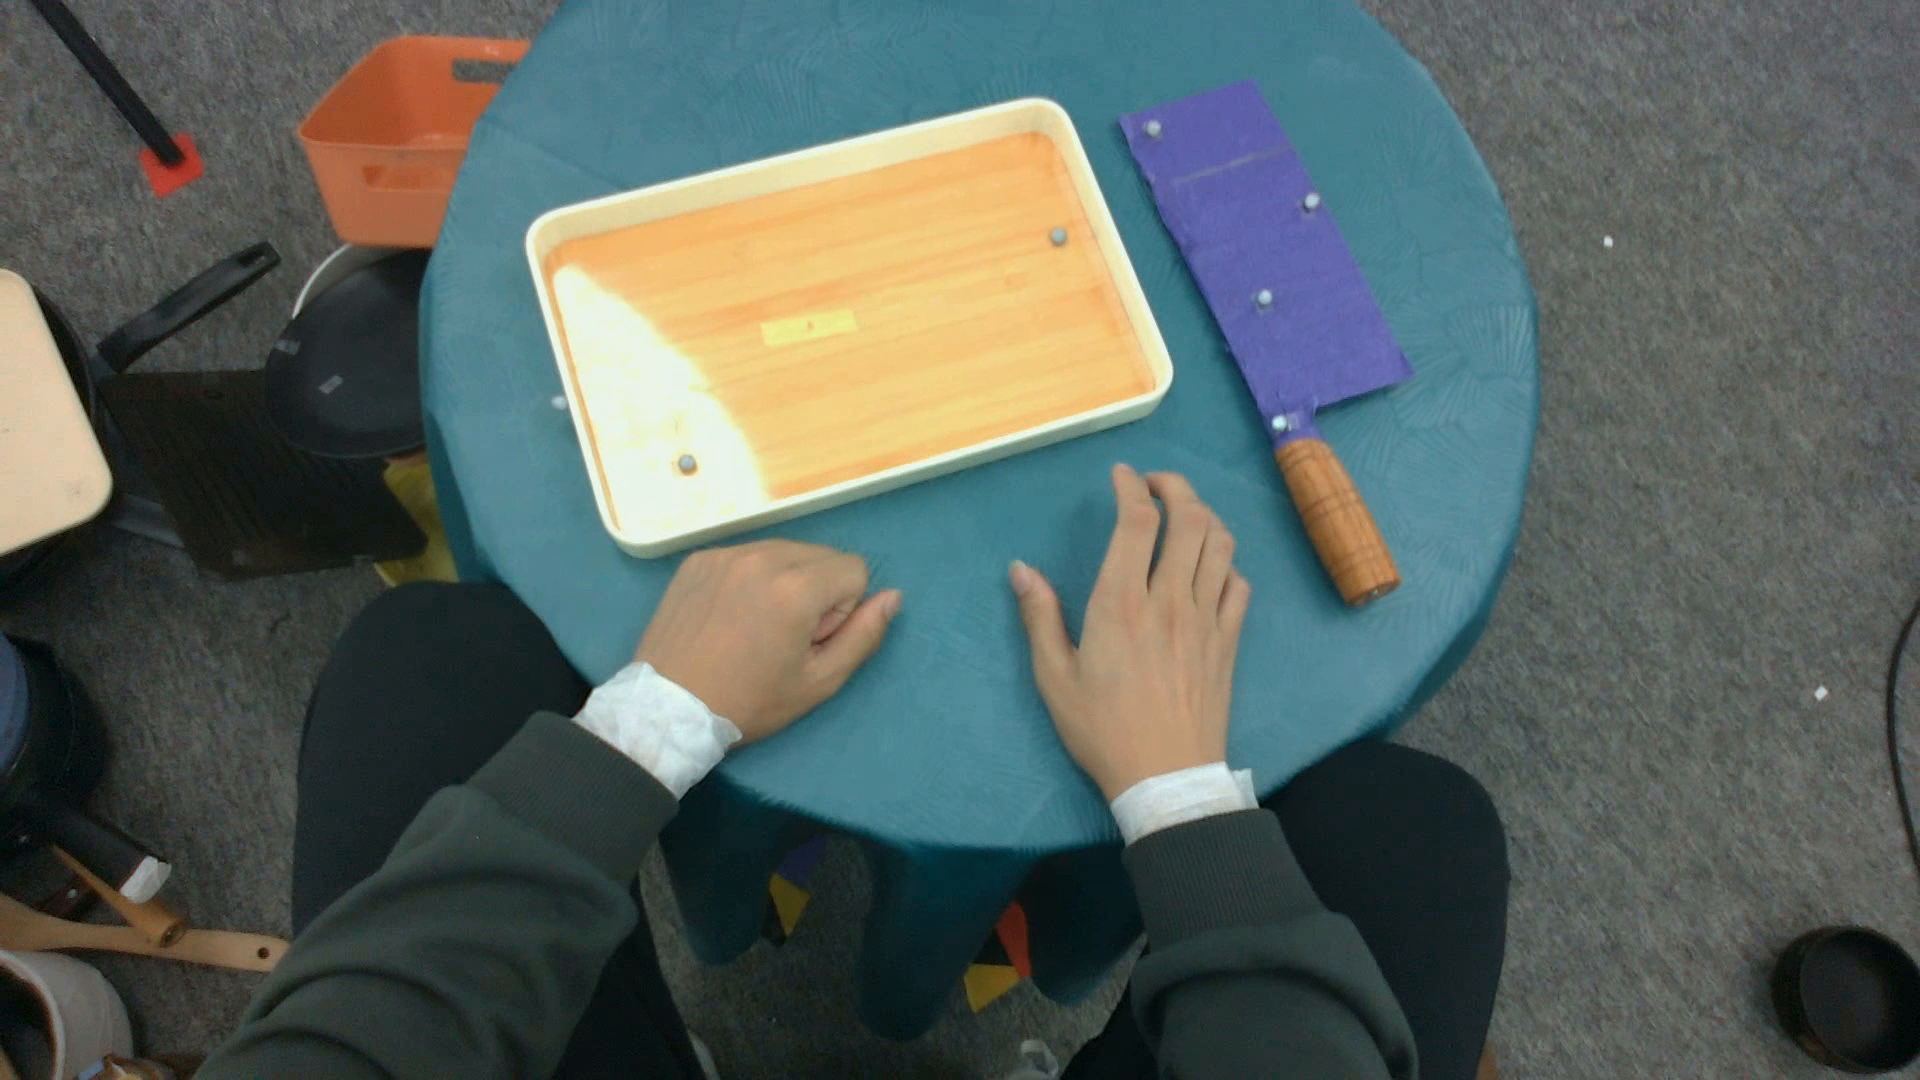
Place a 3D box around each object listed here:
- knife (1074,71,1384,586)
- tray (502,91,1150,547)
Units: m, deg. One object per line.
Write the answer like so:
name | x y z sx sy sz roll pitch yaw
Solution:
knife | 0.170 -0.129 0.748 0.104 0.032 0.316 -19 73 -12
tray | -0.068 -0.122 0.720 0.301 0.027 0.192 -17 73 -12
